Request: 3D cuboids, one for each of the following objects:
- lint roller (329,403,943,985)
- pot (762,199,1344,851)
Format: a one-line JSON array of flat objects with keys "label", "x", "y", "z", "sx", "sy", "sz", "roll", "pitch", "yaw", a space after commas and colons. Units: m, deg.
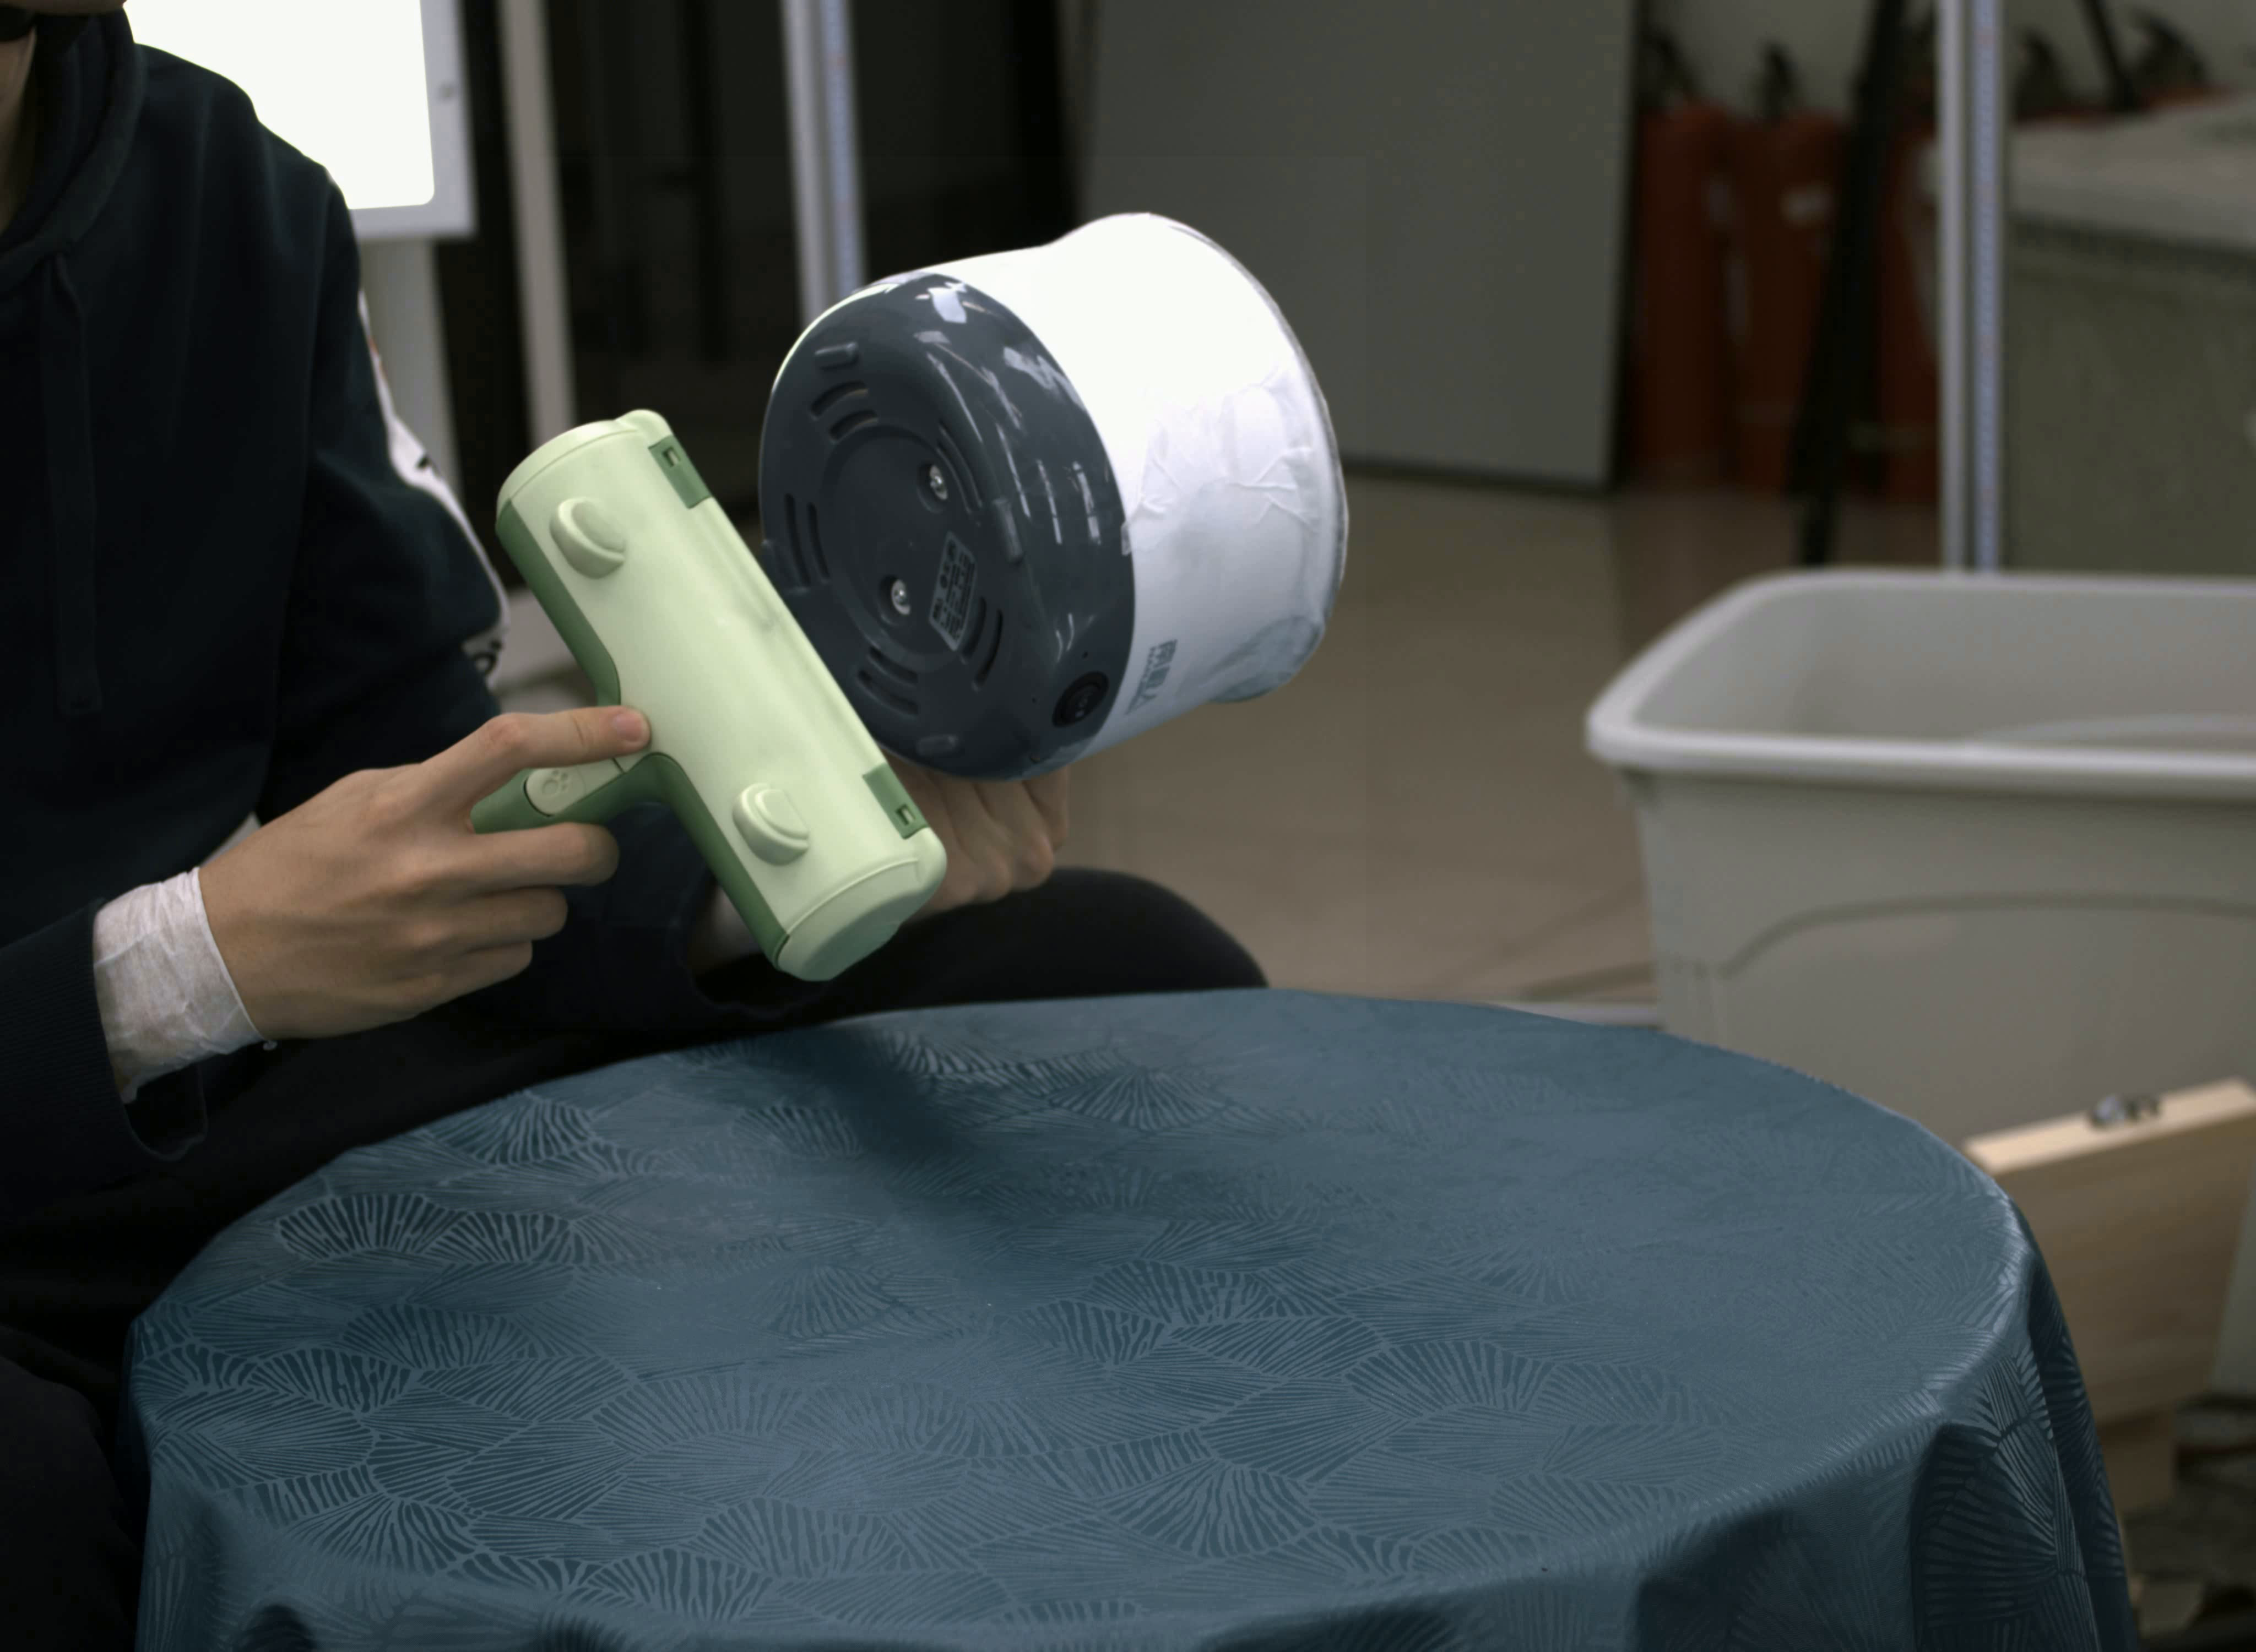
[{"label": "lint roller", "x": -0.182, "y": -0.016, "z": 1.738, "sx": 0.182, "sy": 0.200, "sz": 0.082, "roll": -31, "pitch": -18, "yaw": -6}, {"label": "pot", "x": -0.038, "y": -0.092, "z": 1.864, "sx": 0.134, "sy": 0.236, "sz": 0.180, "roll": -19, "pitch": 53, "yaw": -35}]
